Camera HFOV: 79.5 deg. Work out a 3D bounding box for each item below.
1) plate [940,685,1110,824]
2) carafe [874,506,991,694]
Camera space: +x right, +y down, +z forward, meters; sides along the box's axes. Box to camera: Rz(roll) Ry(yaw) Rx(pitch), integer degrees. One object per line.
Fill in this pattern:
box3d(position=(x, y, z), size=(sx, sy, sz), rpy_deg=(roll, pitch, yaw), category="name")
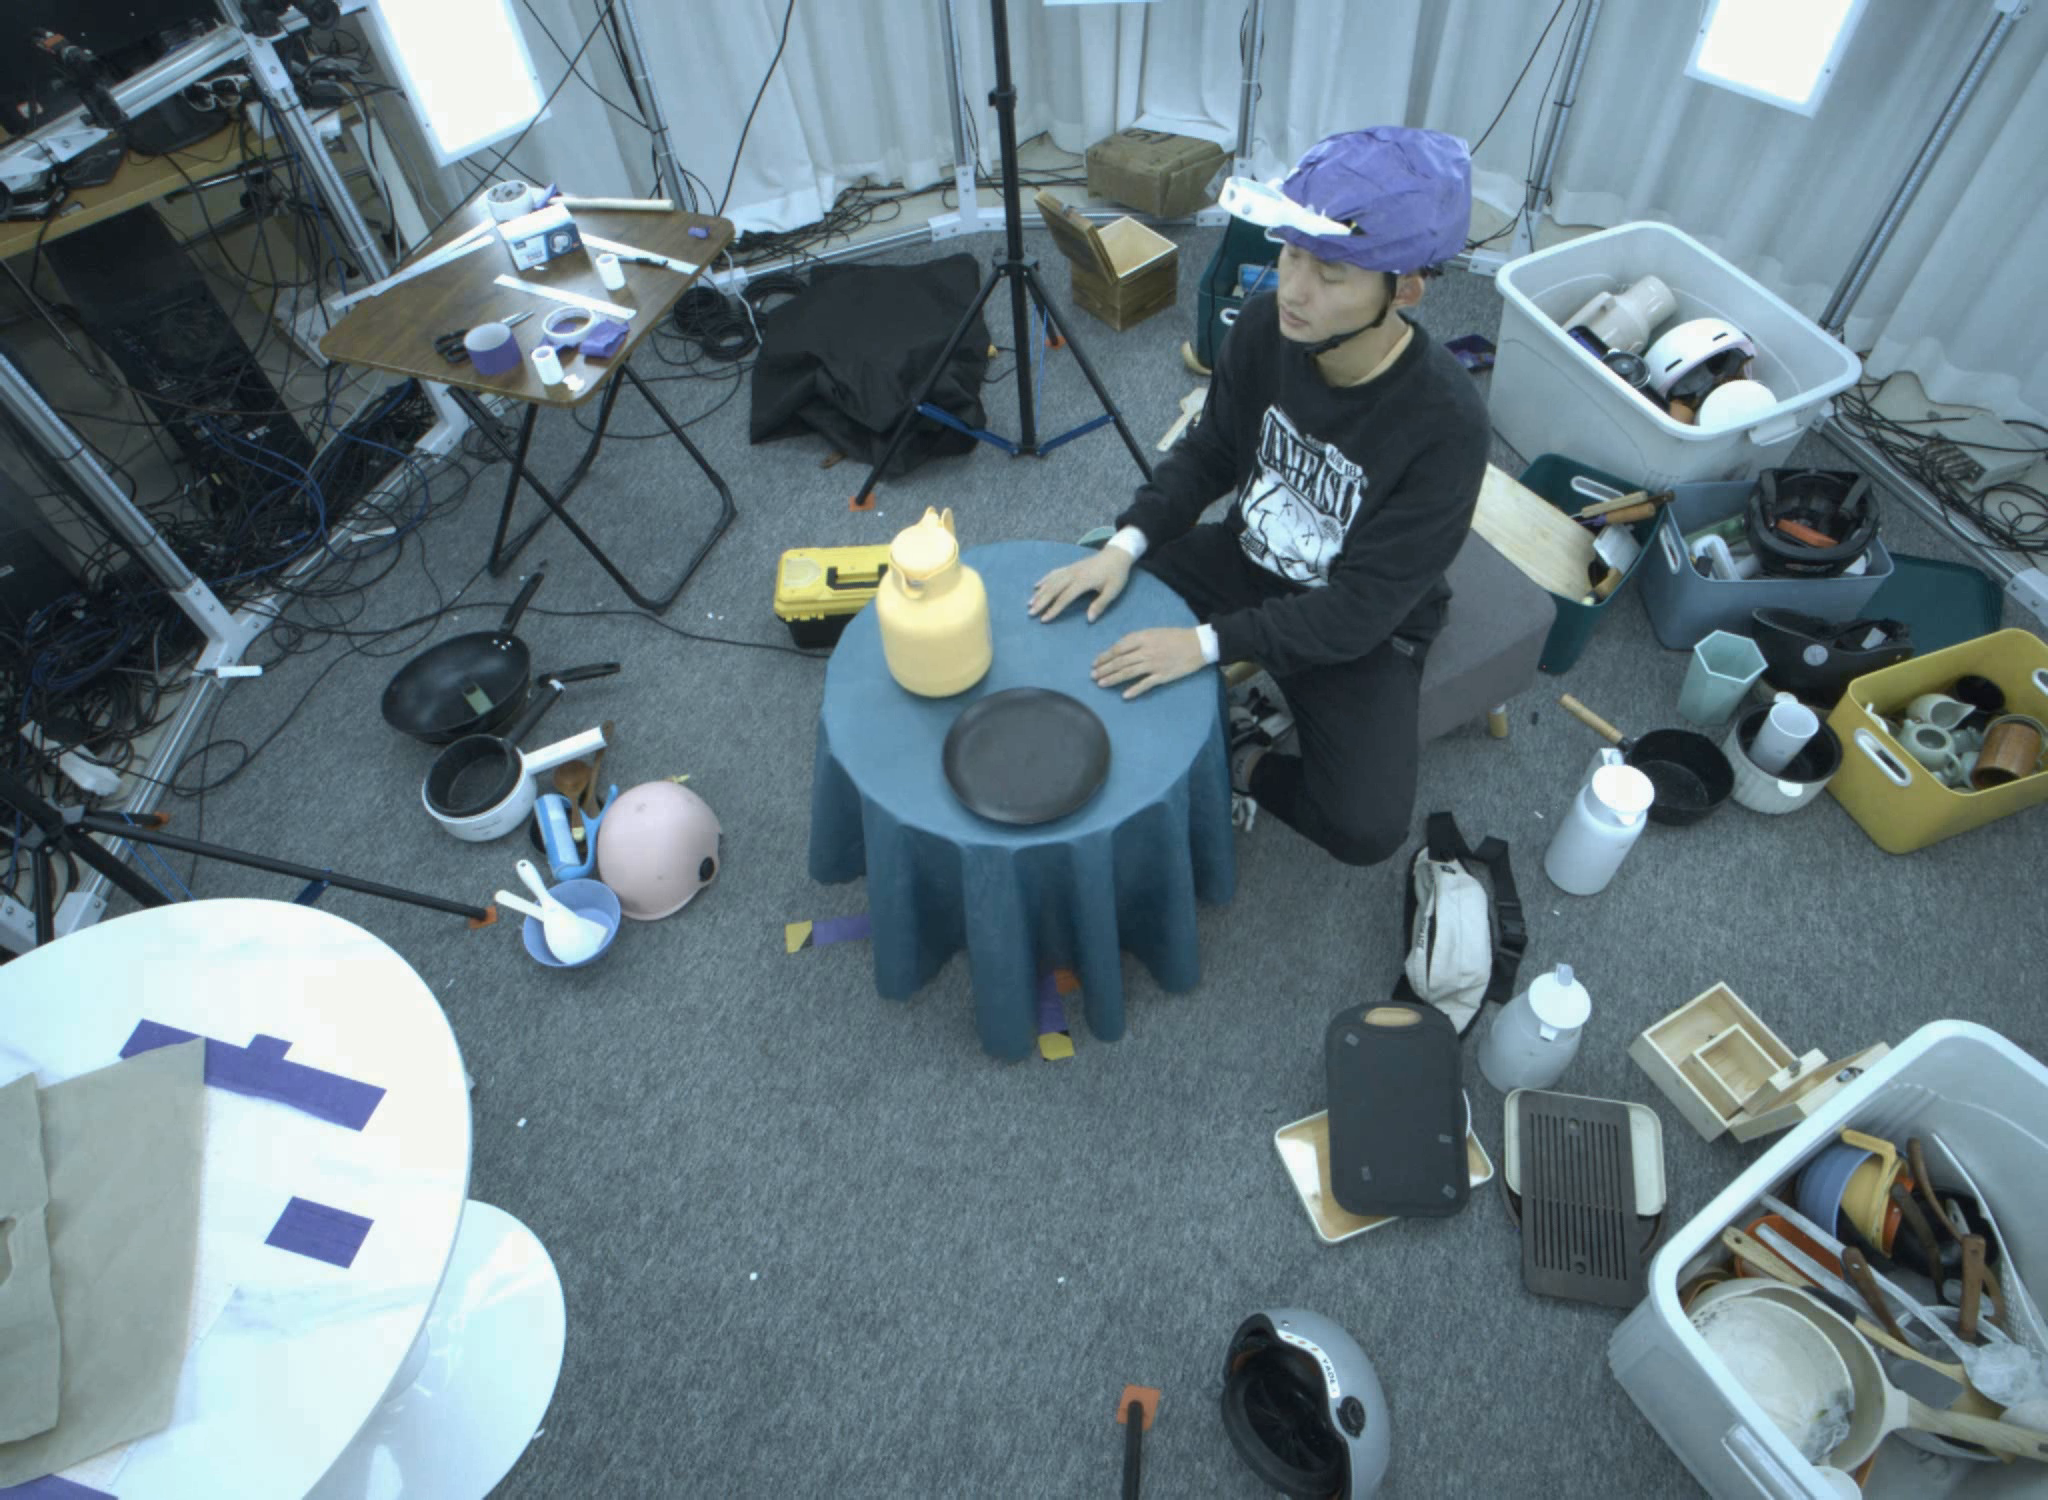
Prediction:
box3d(position=(0.001, 0.008, 1.763), size=(0.244, 0.024, 0.242), rpy_deg=(0, 55, 2), category="plate")
box3d(position=(-0.130, -0.225, 1.785), size=(0.163, 0.263, 0.201), rpy_deg=(9, 57, 7), category="carafe")
